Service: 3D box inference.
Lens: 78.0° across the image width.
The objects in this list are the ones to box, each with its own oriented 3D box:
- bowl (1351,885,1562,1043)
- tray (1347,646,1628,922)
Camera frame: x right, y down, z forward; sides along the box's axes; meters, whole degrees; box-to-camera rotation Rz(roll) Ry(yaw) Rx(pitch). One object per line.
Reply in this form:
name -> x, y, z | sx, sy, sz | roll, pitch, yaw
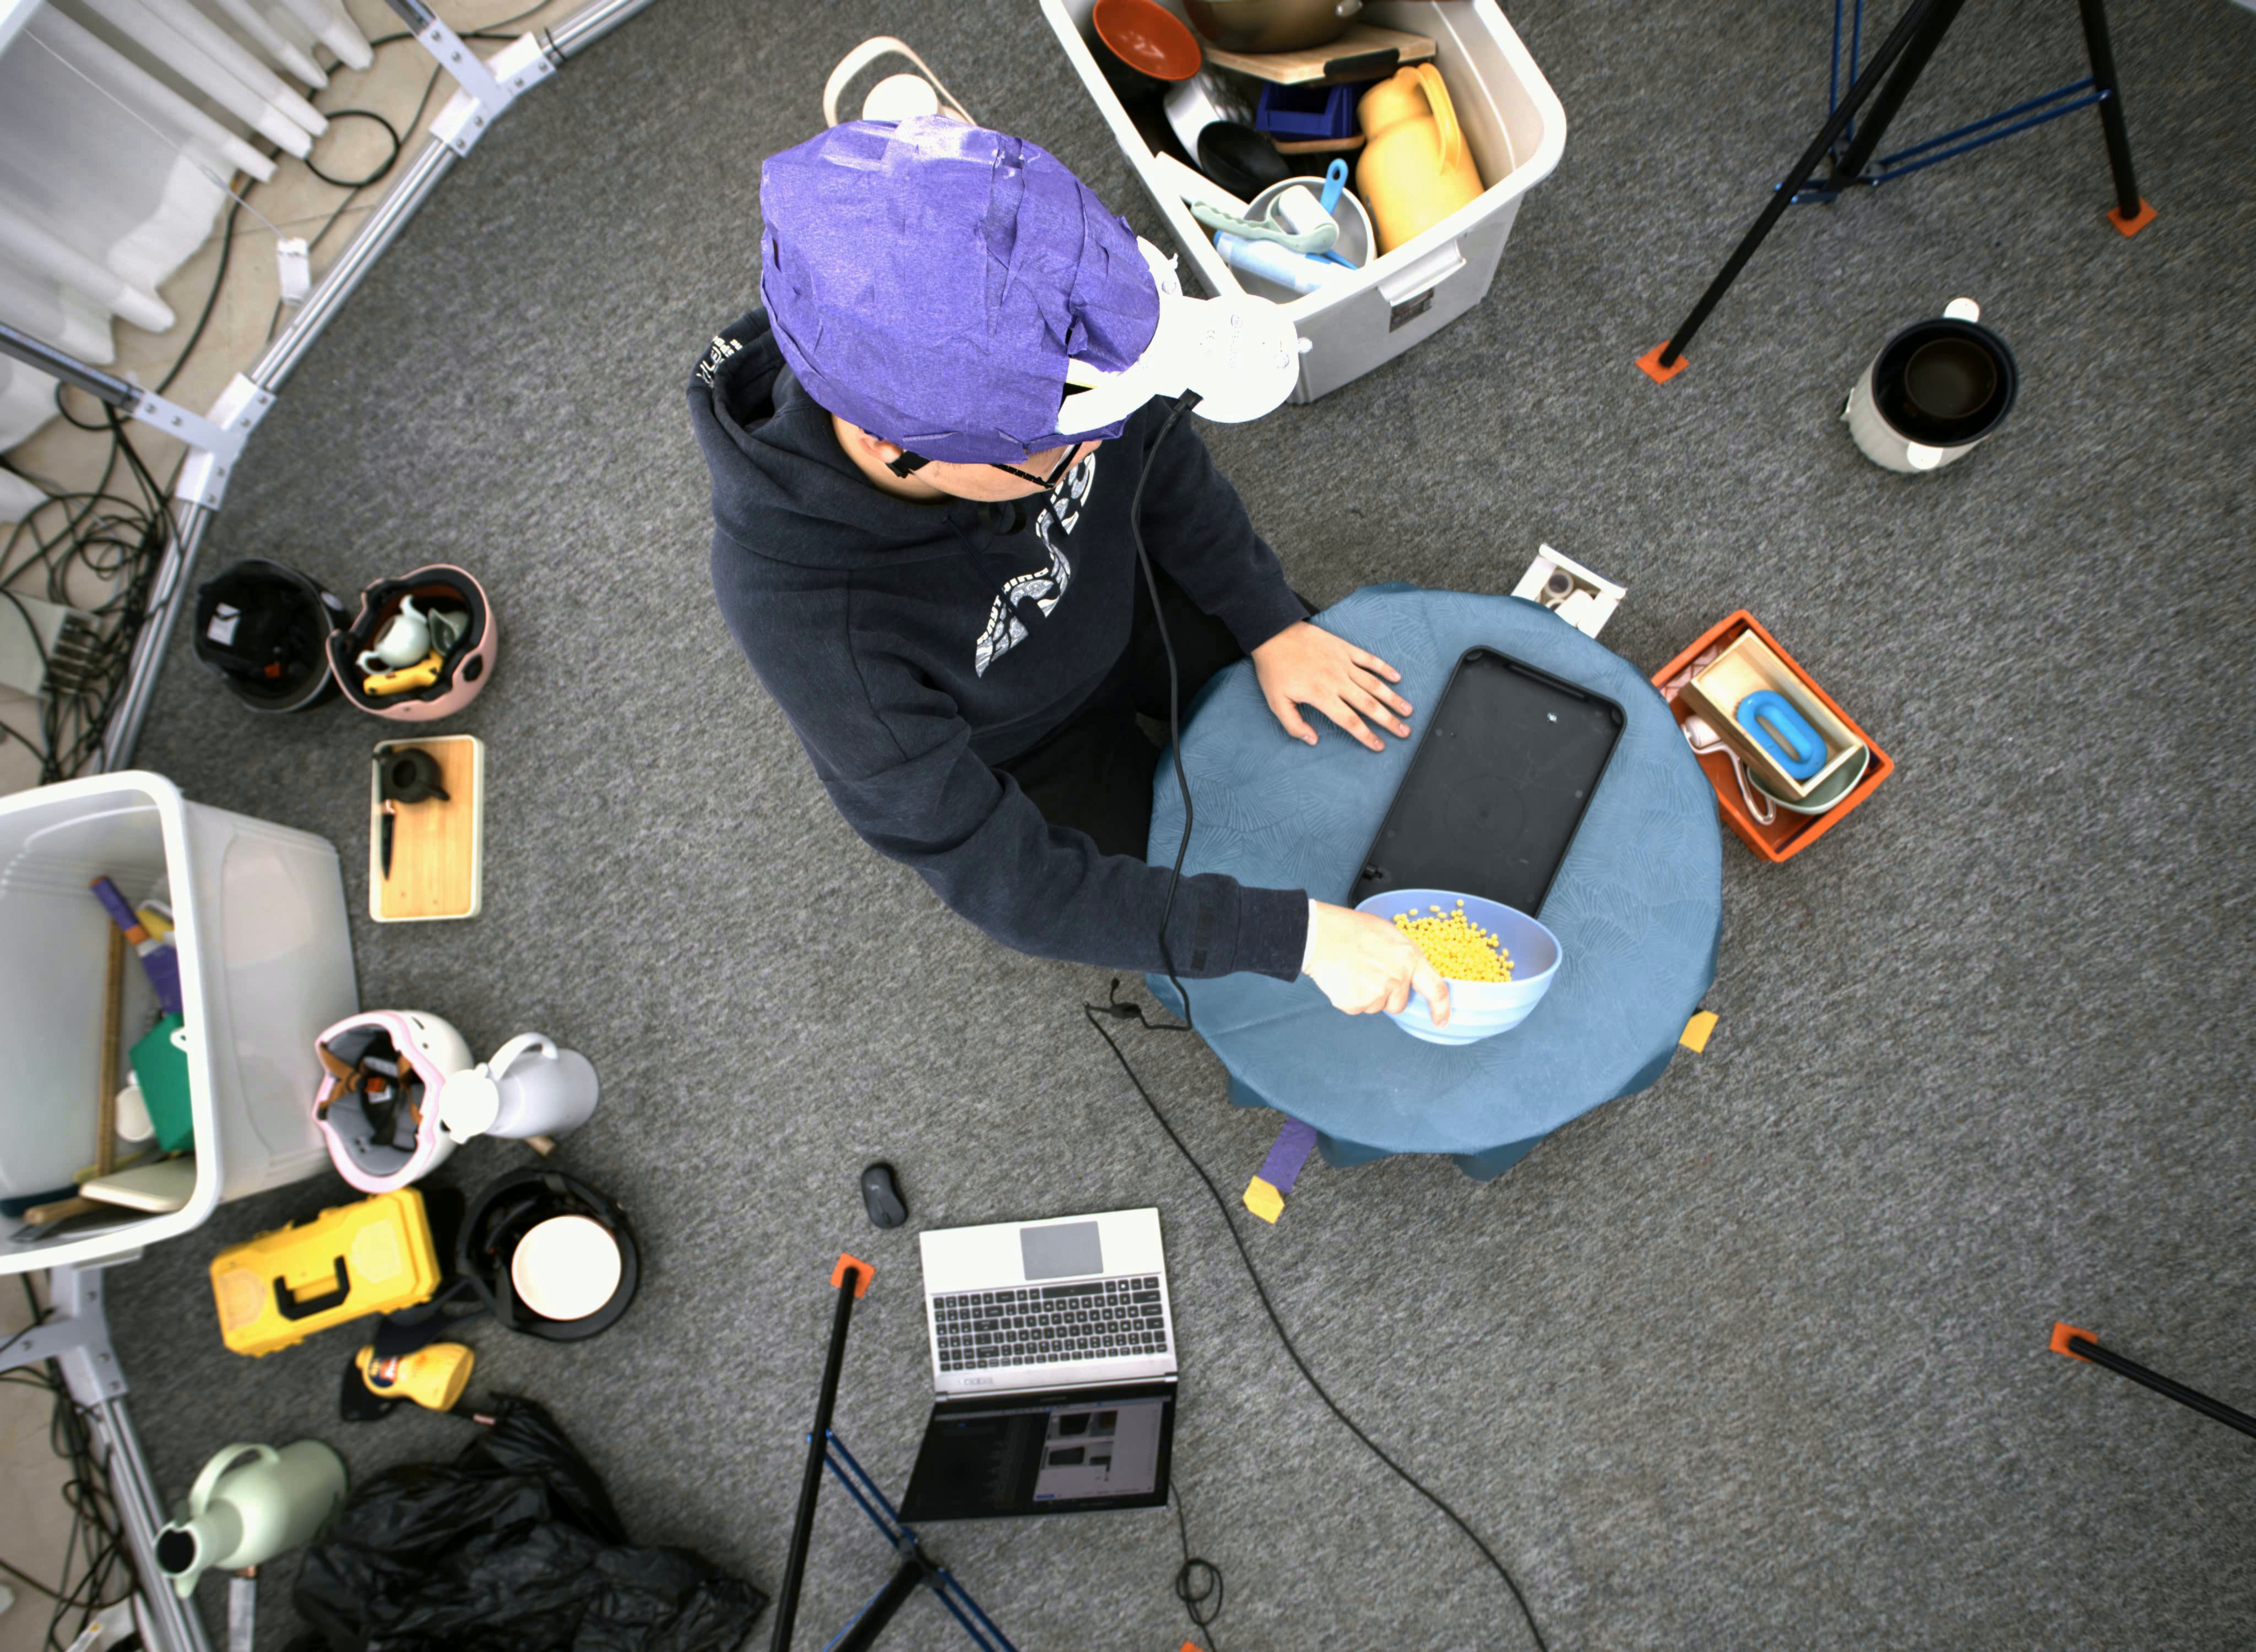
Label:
bowl -> 0.302, 0.140, 1.308 | 0.197, 0.192, 0.097 | 11, 115, 11
tray -> 0.371, -0.015, 1.427 | 0.184, 0.037, 0.318 | 26, 91, 12
